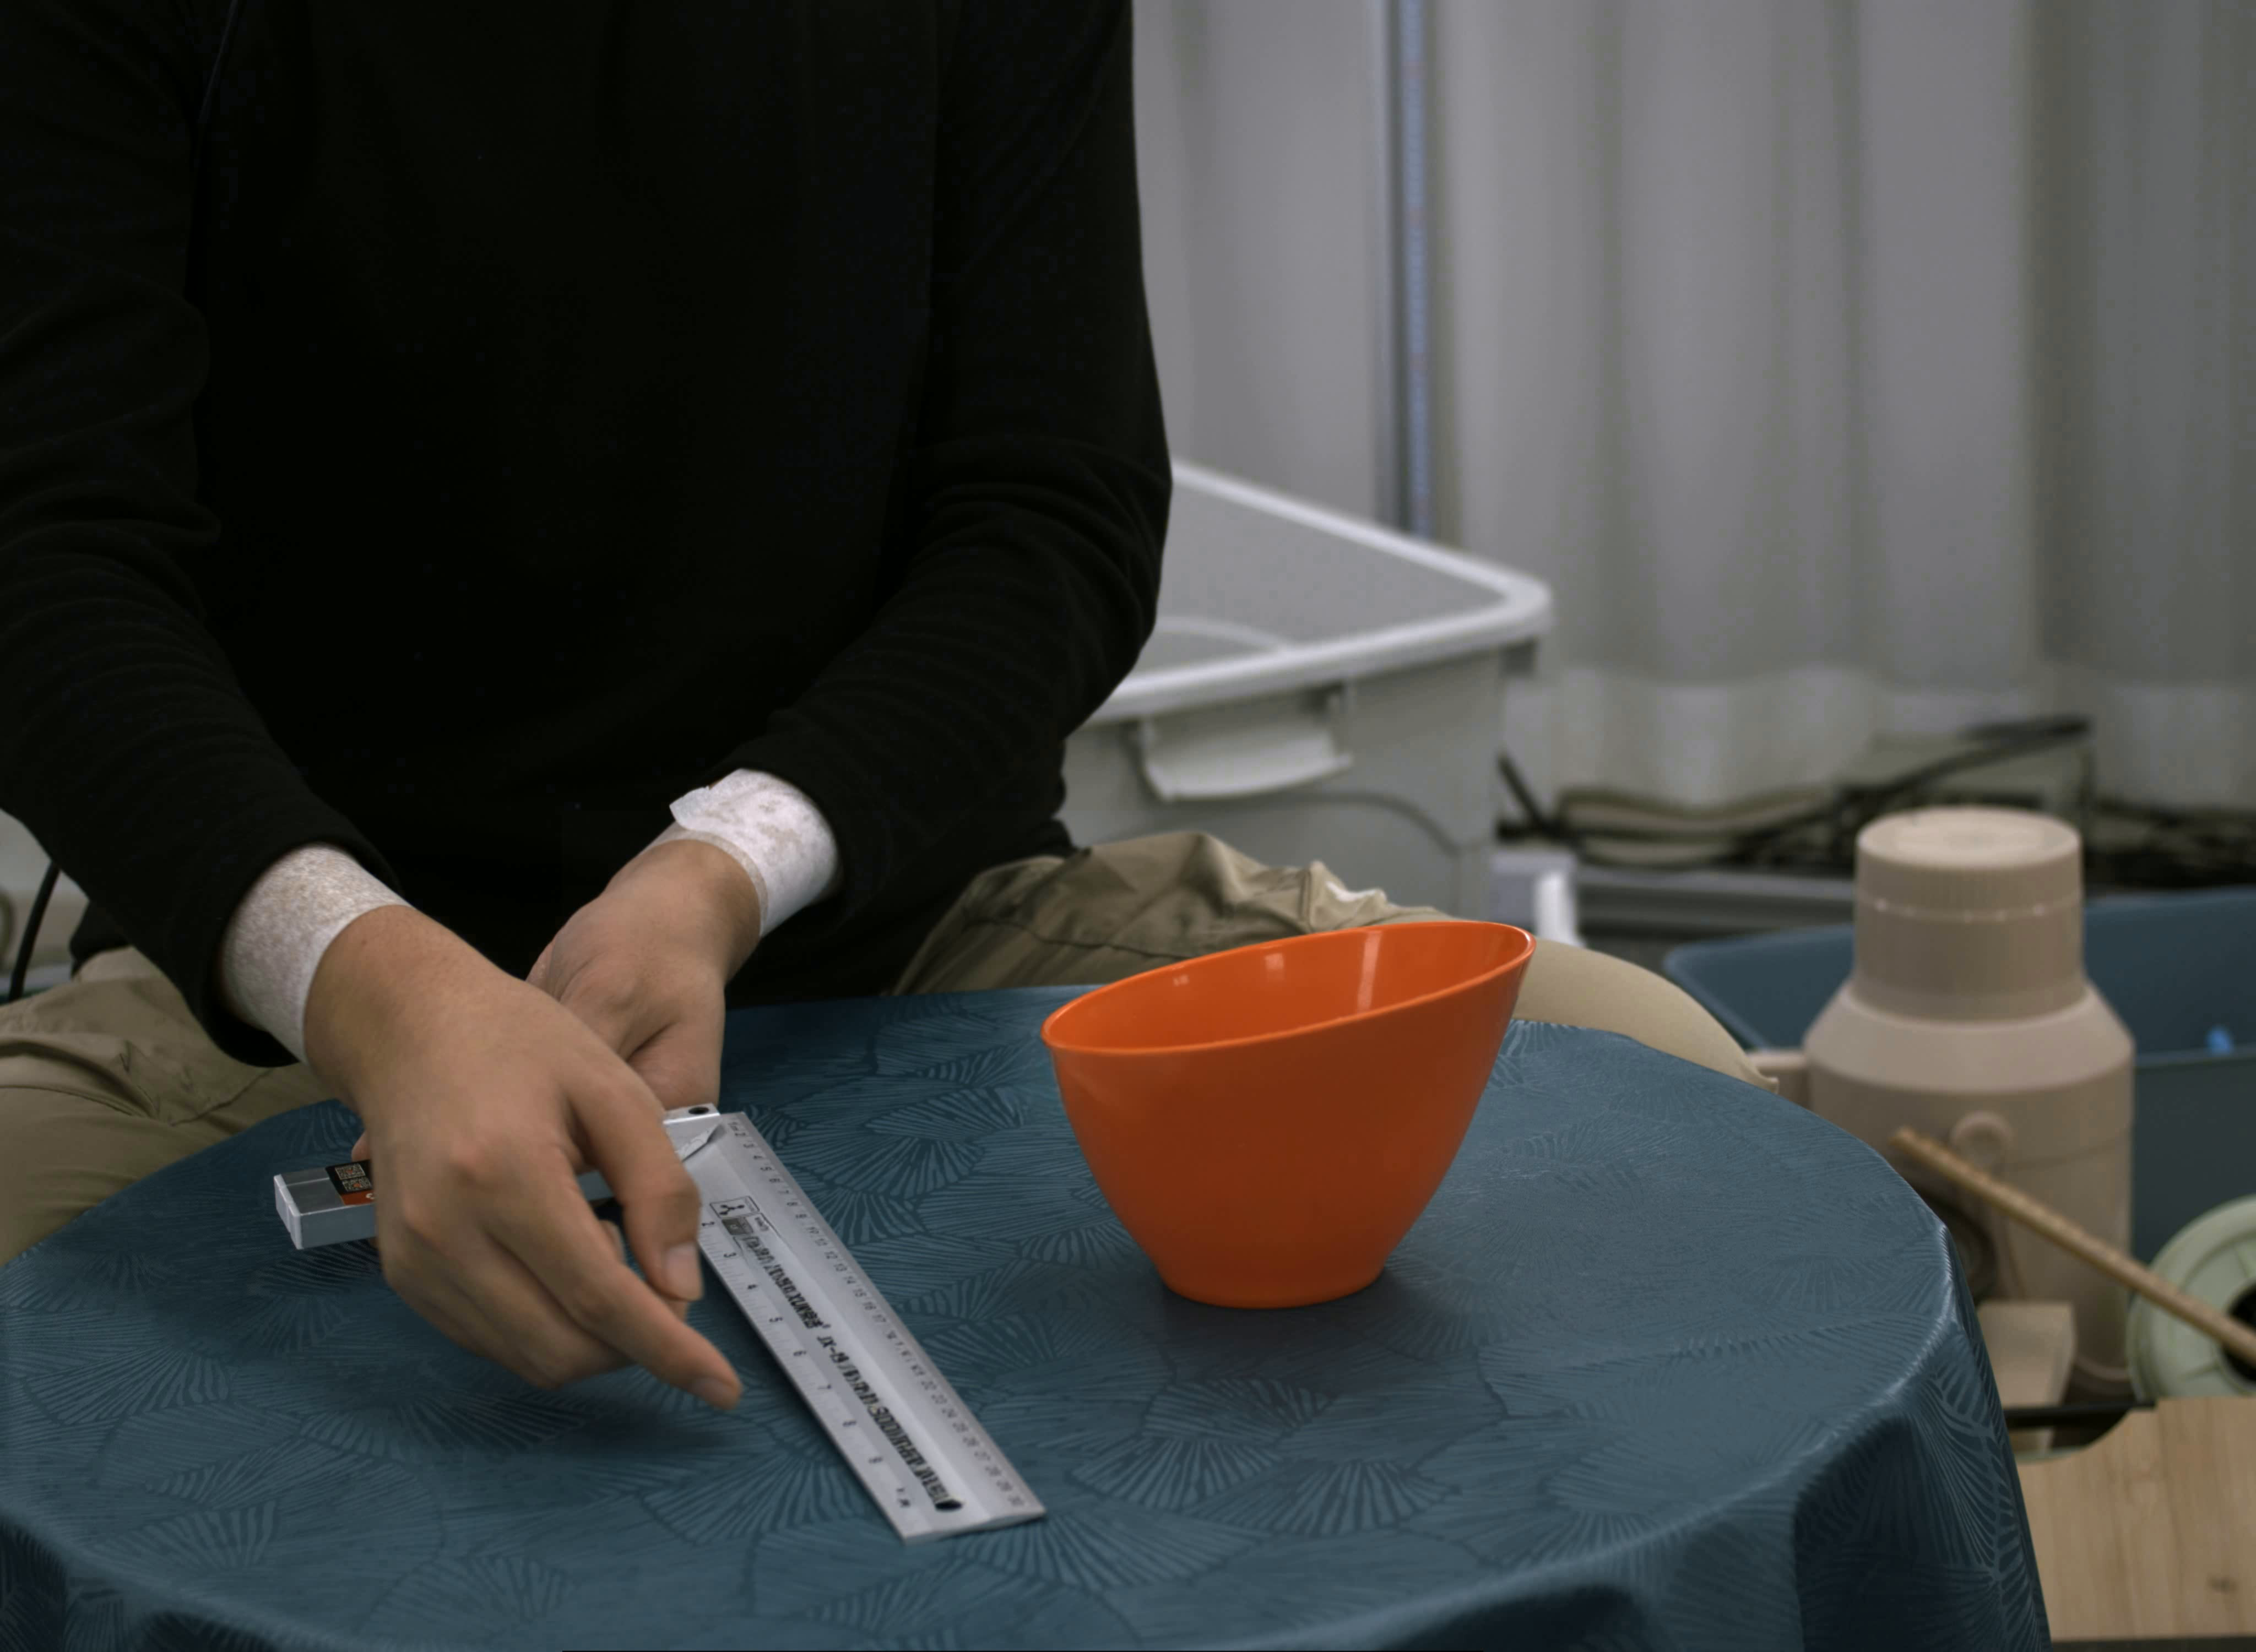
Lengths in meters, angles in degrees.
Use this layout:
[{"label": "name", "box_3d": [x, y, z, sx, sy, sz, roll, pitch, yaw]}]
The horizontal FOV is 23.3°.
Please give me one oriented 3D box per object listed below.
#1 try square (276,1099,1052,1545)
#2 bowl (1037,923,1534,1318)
[{"label": "try square", "box_3d": [-0.141, 0.148, 1.573, 0.151, 0.016, 0.316, -10, 20, -16]}, {"label": "bowl", "box_3d": [0.048, 0.087, 1.614, 0.147, 0.104, 0.149, -4, 15, 1]}]
